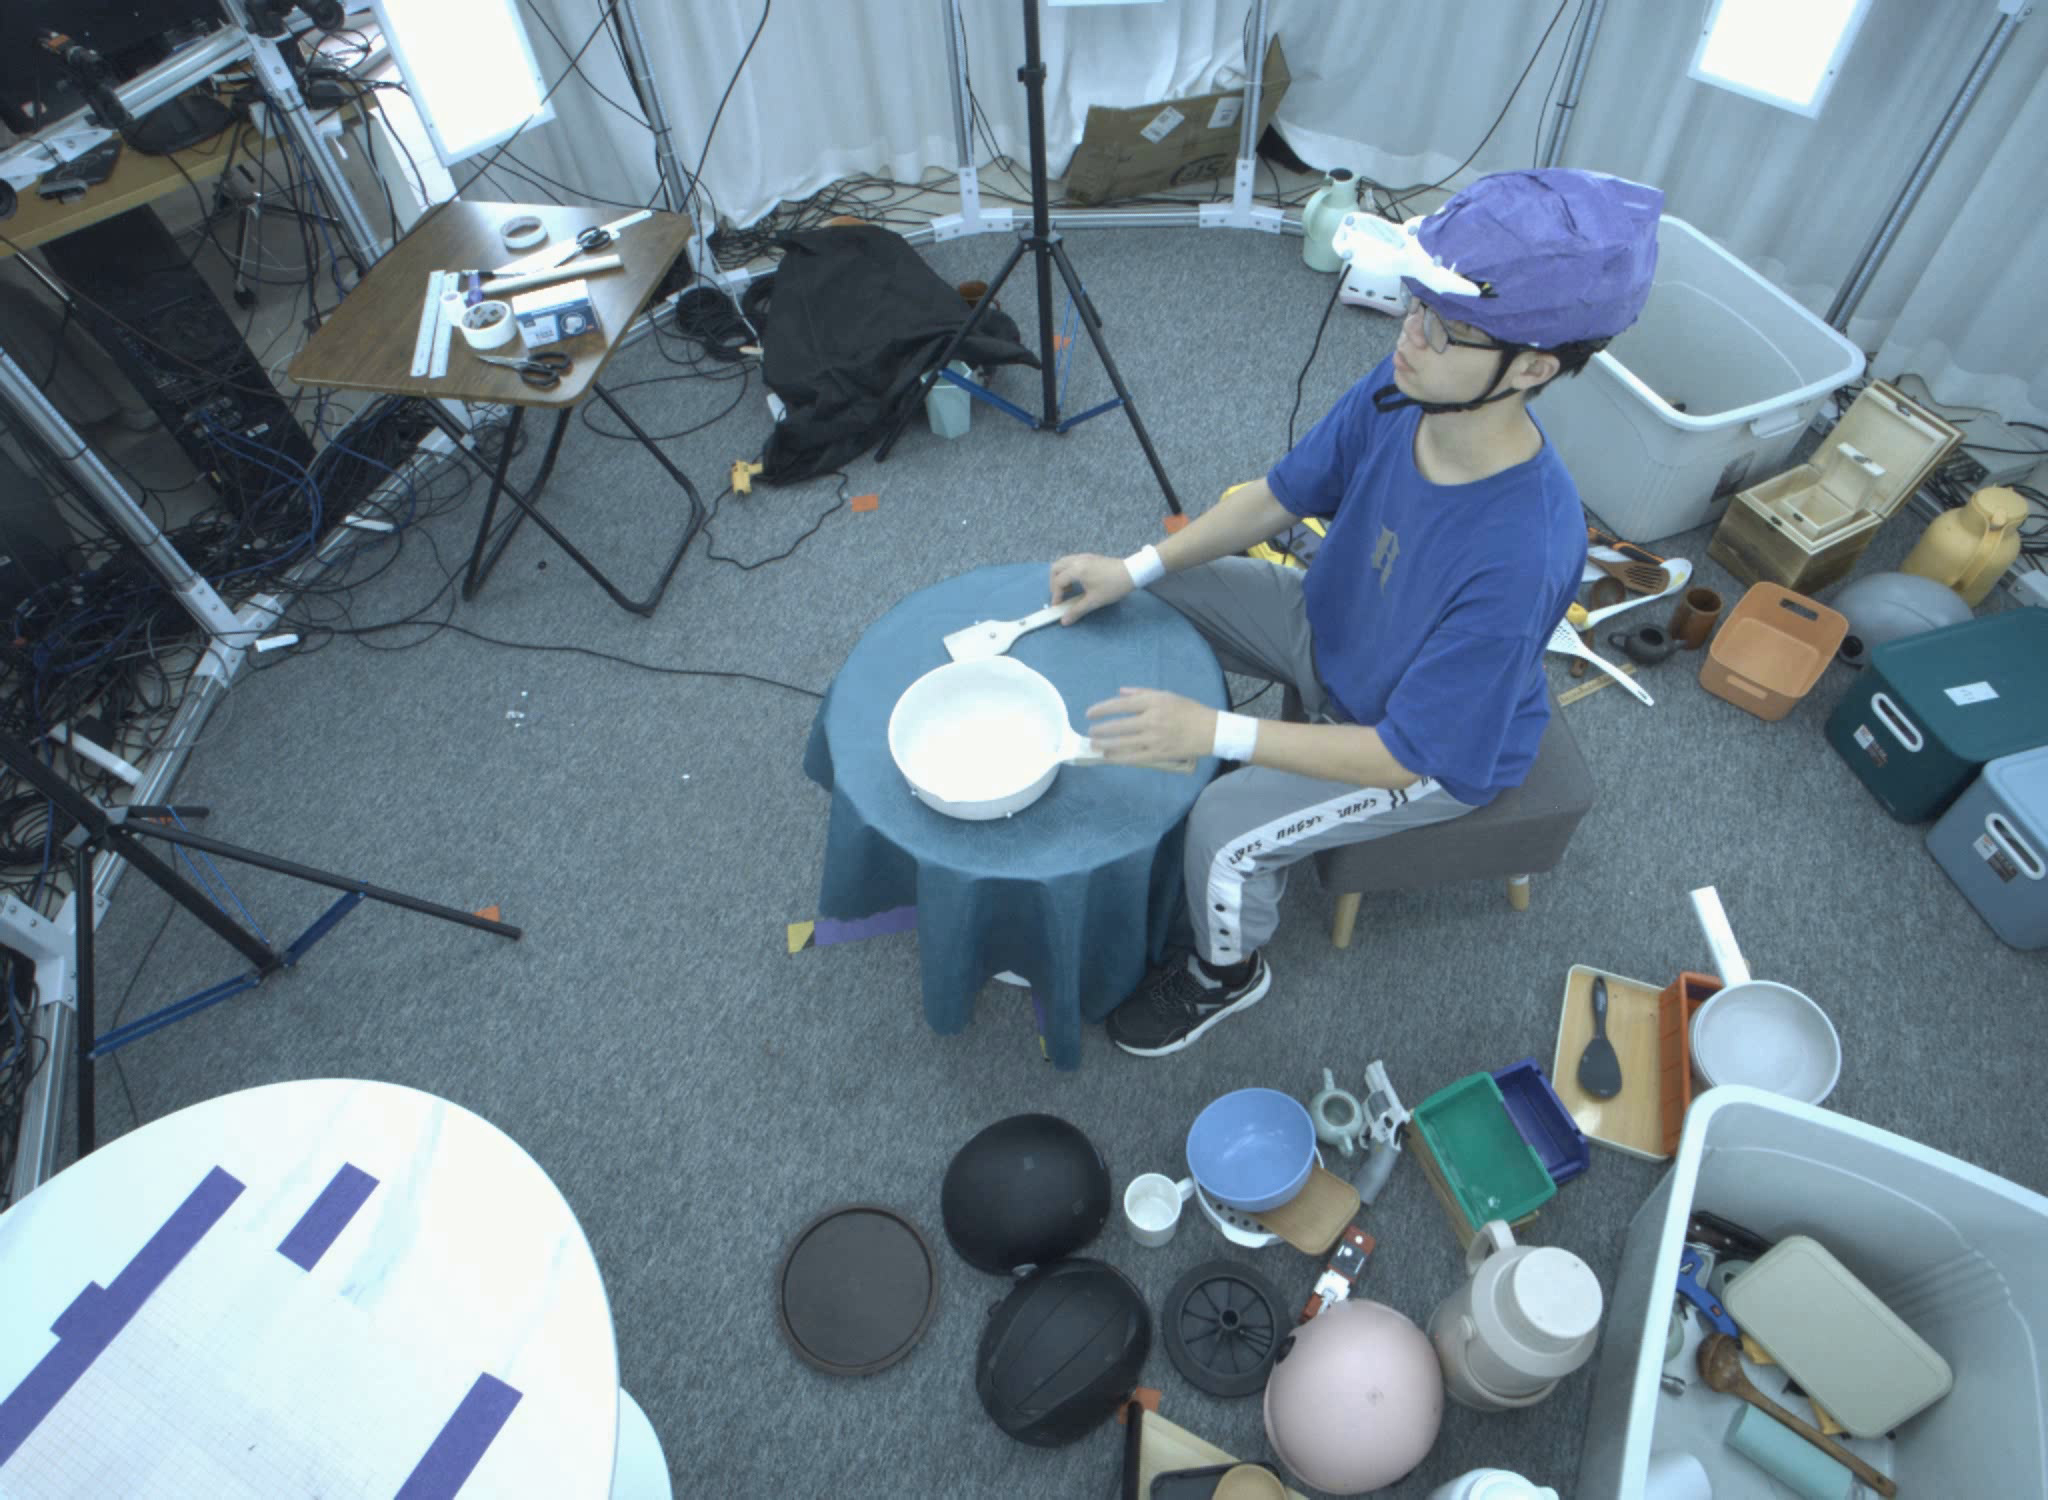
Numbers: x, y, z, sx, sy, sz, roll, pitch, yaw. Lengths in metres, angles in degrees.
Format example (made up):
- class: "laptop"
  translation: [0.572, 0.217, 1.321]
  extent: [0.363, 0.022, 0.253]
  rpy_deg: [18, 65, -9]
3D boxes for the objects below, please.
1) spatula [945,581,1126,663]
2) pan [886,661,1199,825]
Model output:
- class: "spatula"
  translation: [0.022, -0.208, 1.916]
  extent: [0.294, 0.011, 0.071]
  rpy_deg: [-21, 56, -8]
- class: "pan"
  translation: [0.025, 0.009, 1.710]
  extent: [0.432, 0.103, 0.262]
  rpy_deg: [11, 53, 9]
